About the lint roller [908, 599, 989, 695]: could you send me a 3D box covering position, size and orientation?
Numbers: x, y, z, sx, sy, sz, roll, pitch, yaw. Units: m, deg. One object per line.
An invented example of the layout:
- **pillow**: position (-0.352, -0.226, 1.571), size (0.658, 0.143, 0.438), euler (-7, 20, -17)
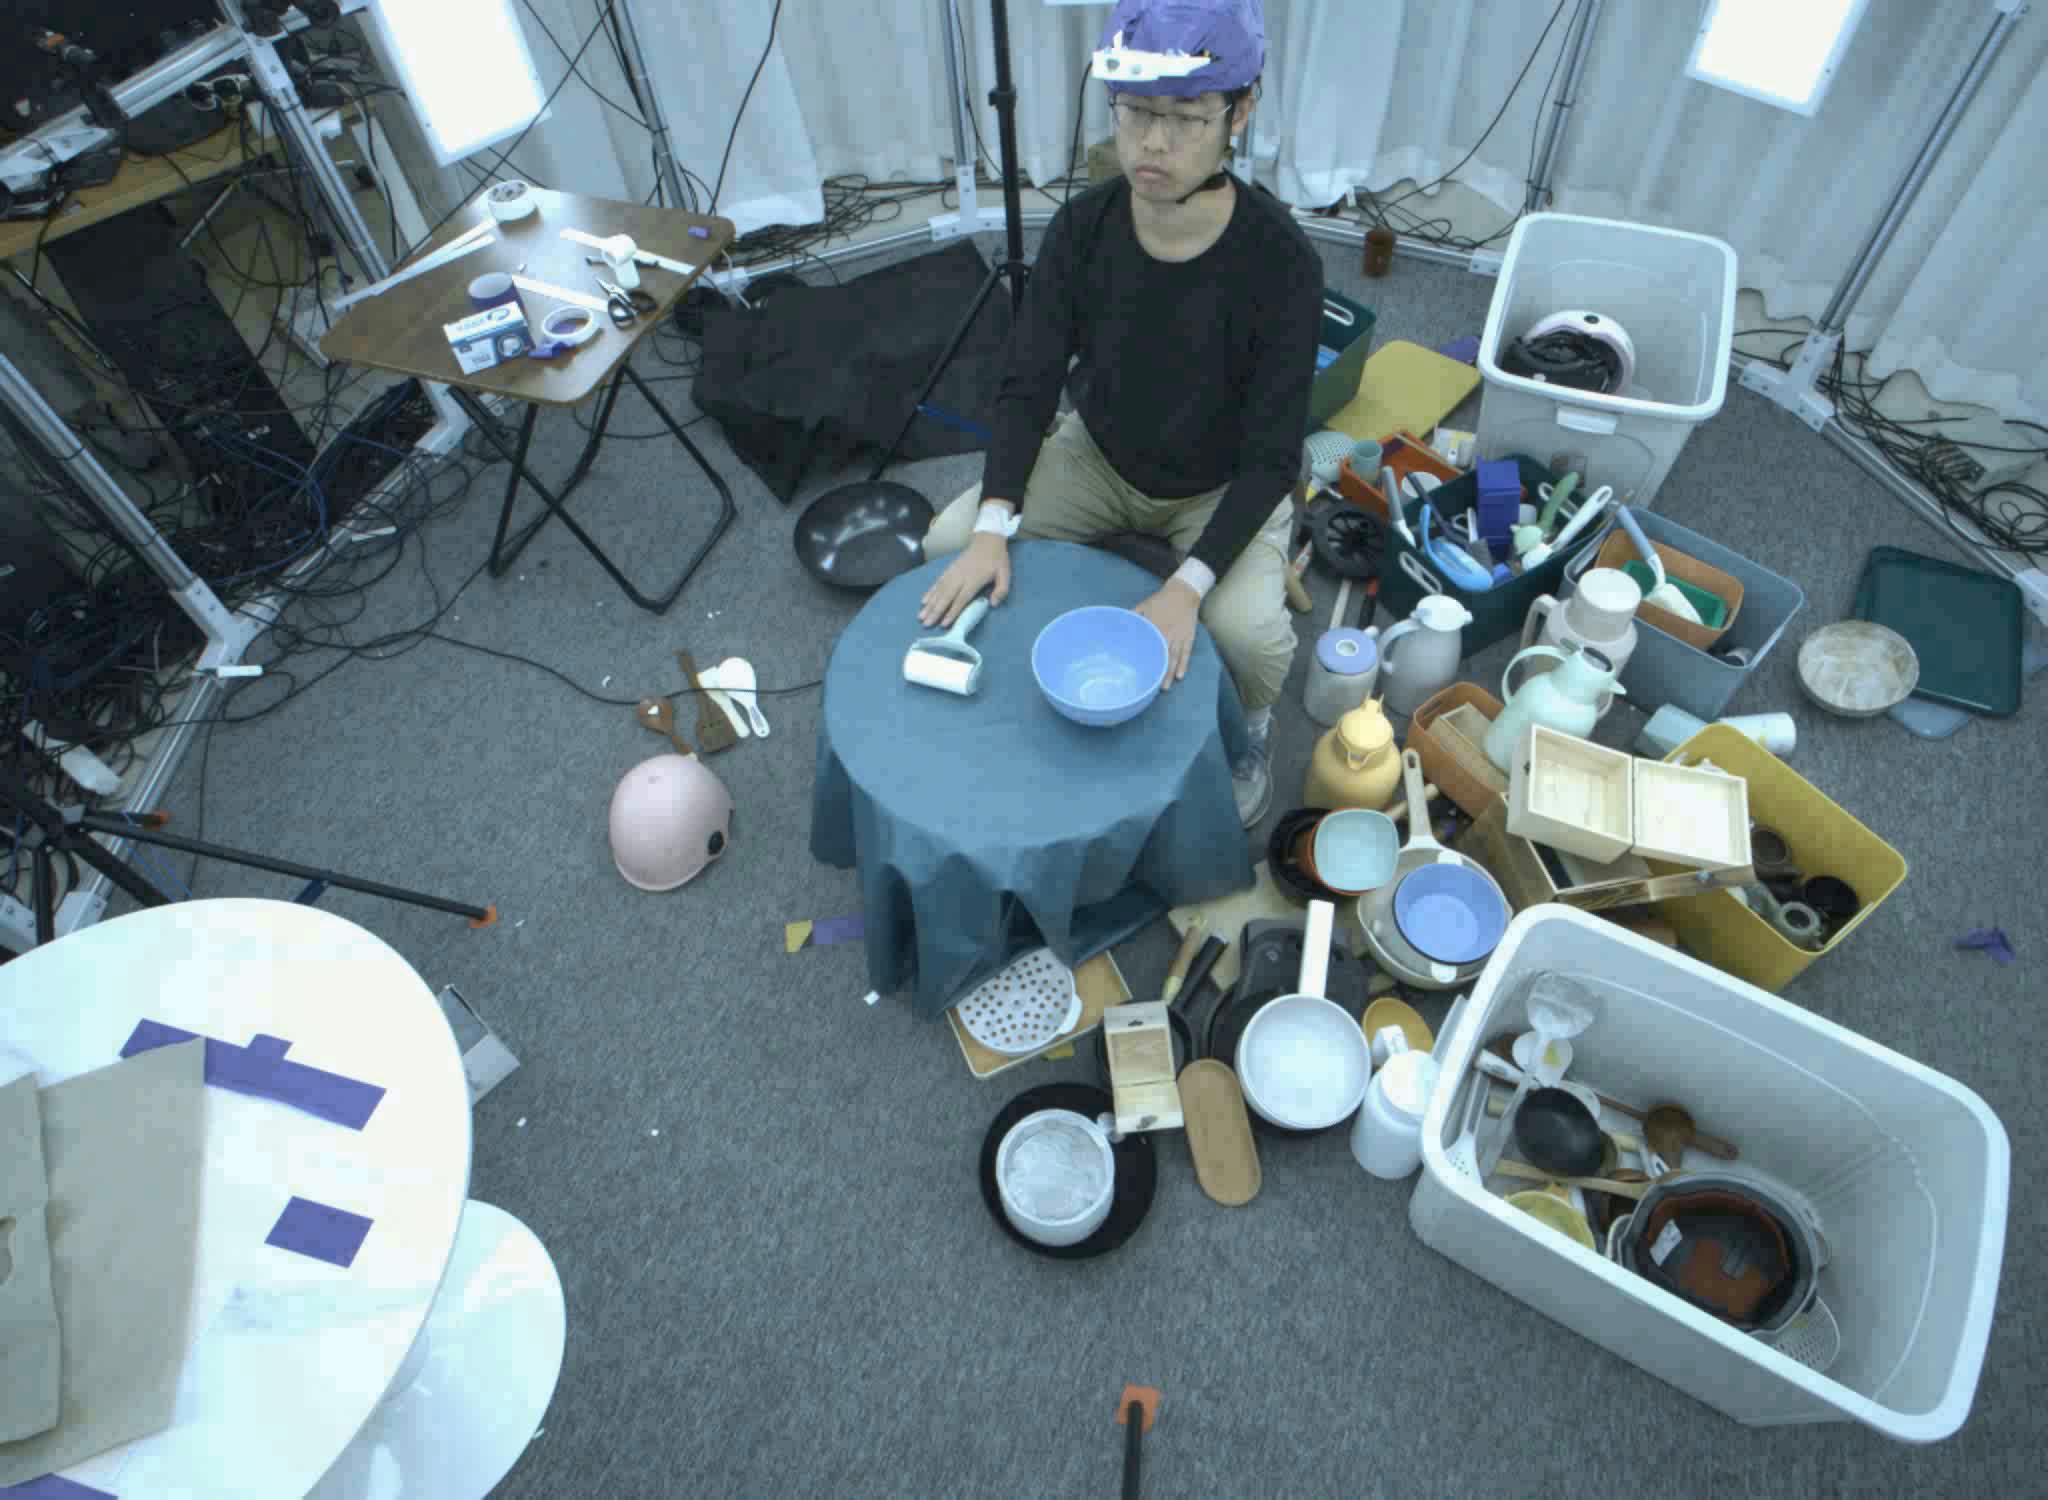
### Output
- **lint roller**: position (-0.093, -0.170, 1.884), size (0.115, 0.049, 0.197), euler (14, 56, 14)

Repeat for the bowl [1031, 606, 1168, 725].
- **bowl**: position (0.111, -0.109, 1.802), size (0.196, 0.096, 0.194), euler (-1, 54, 3)
